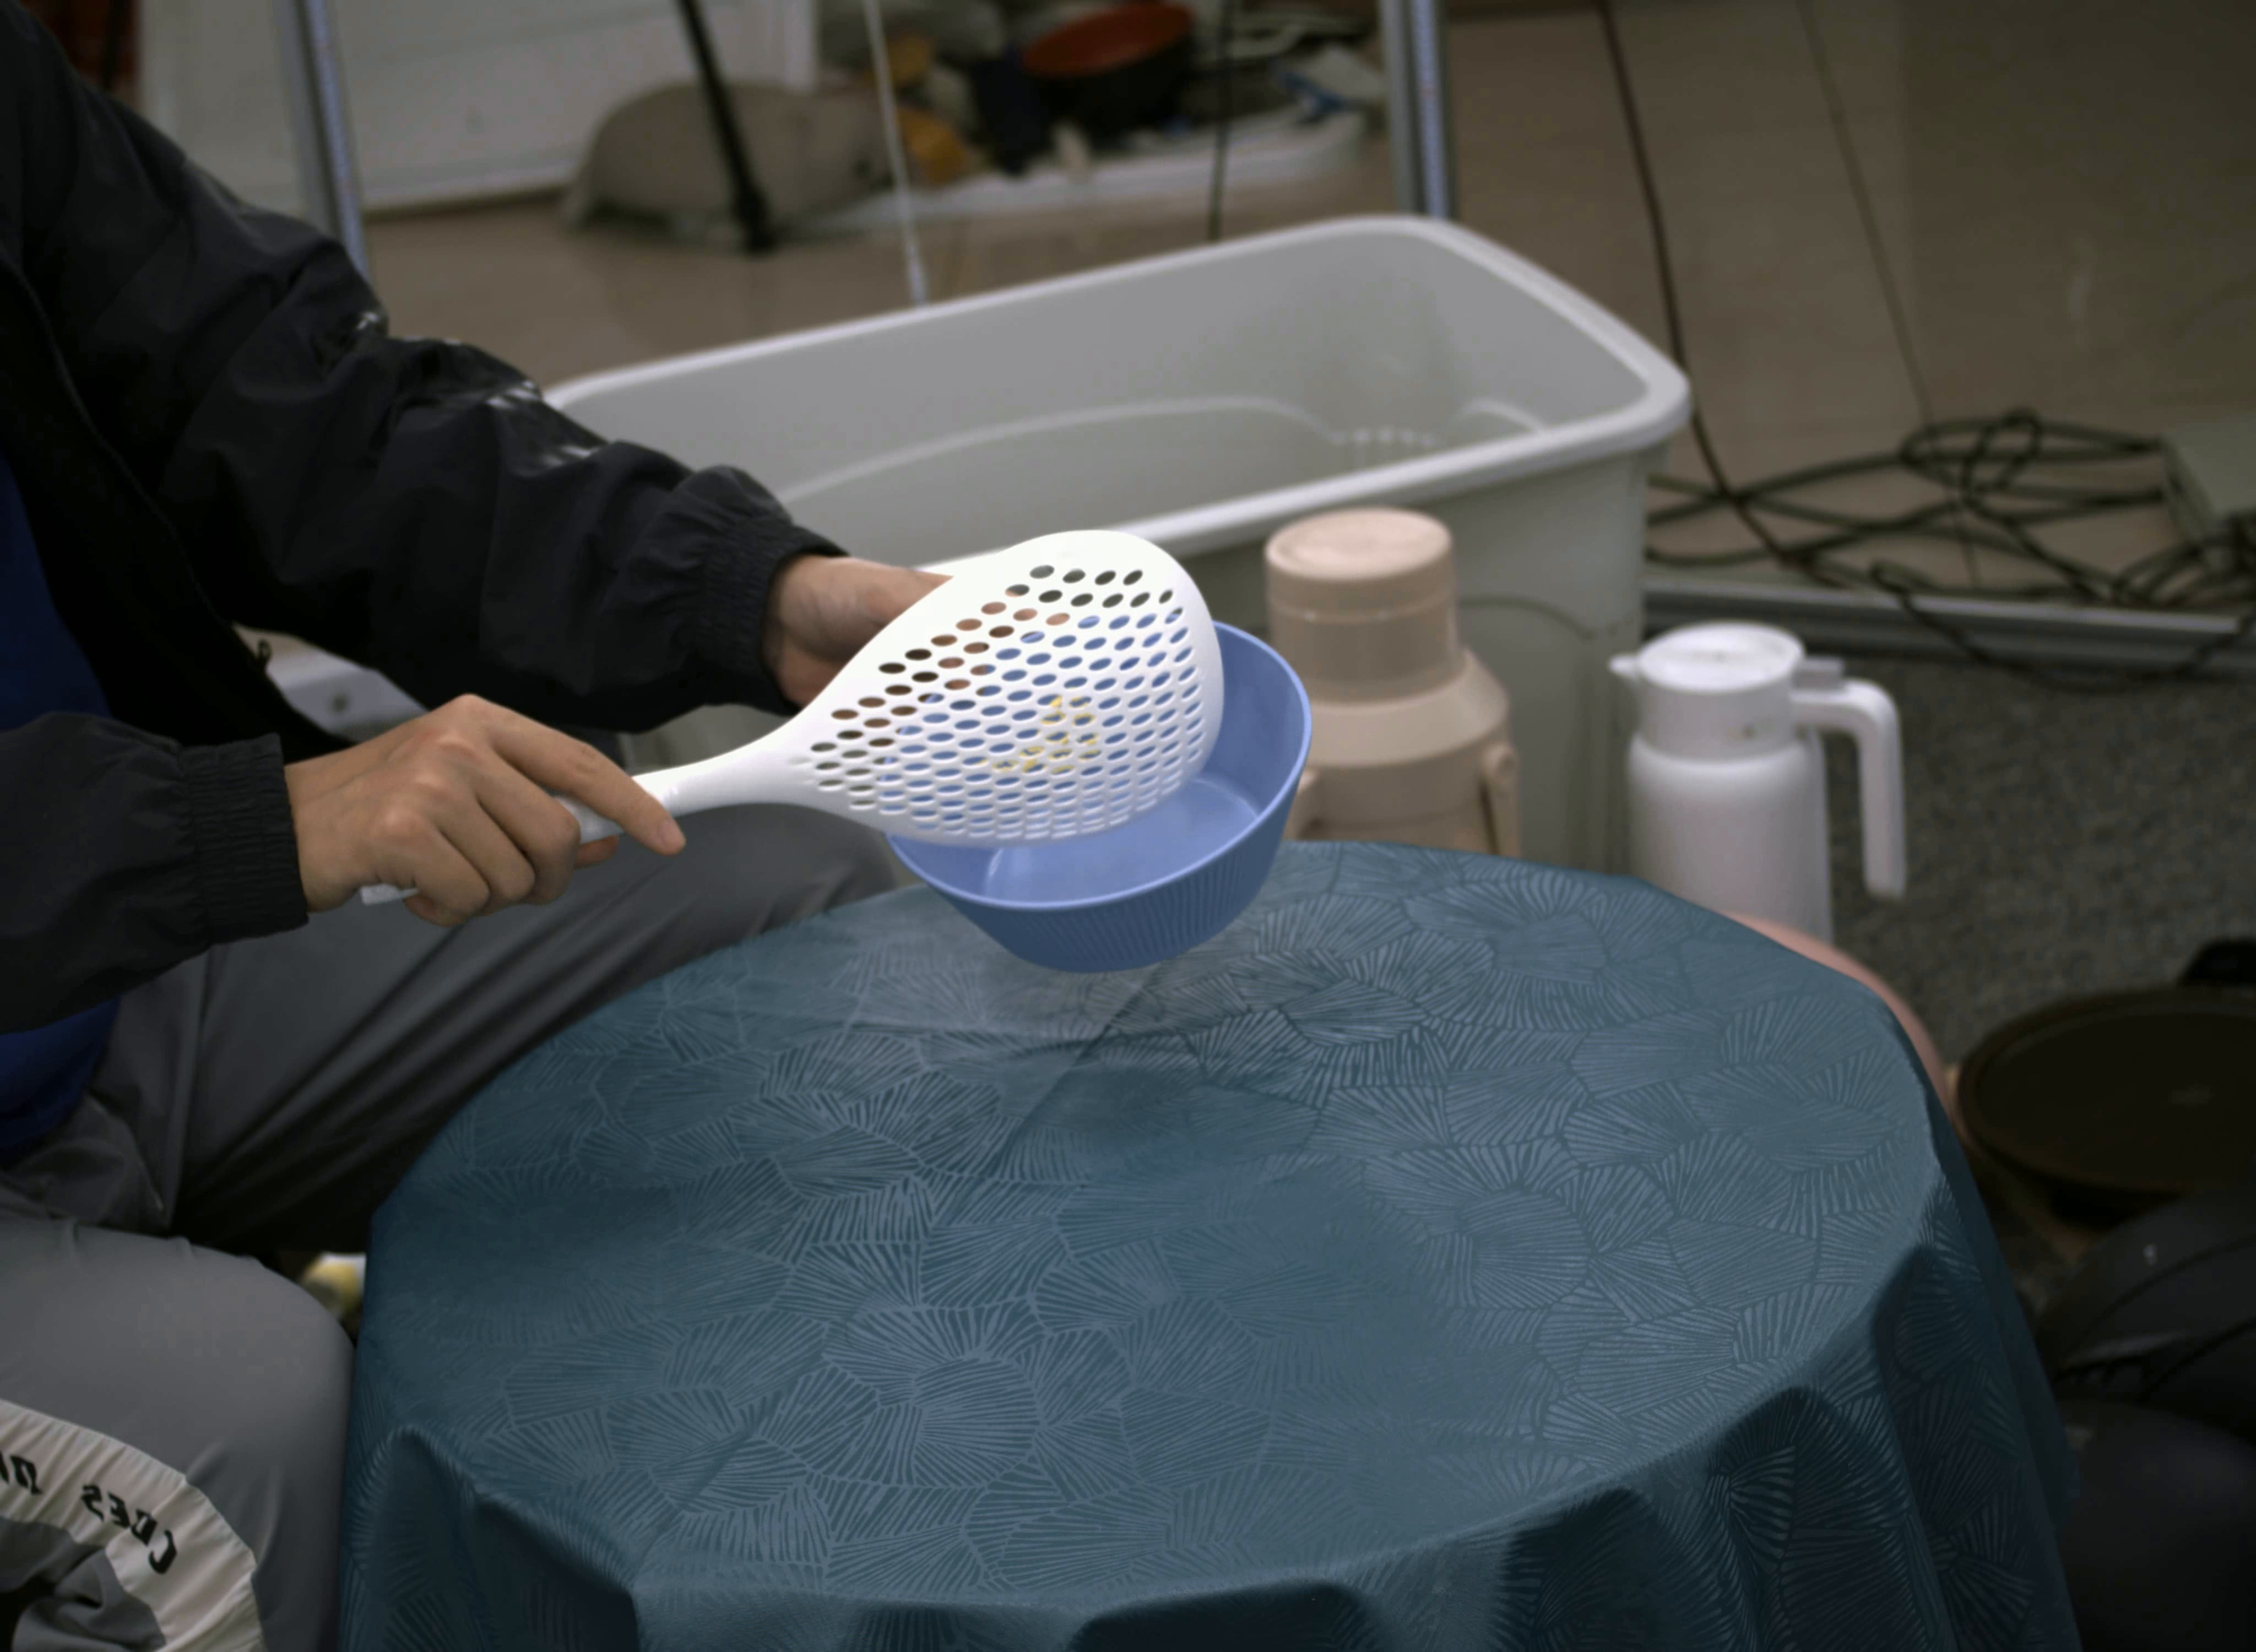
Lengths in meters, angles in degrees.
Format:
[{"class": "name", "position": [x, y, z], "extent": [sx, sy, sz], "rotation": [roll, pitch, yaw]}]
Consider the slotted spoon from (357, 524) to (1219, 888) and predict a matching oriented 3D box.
[{"class": "slotted spoon", "position": [-0.128, -0.022, 2.185], "extent": [0.347, 0.139, 0.049], "rotation": [-12, 32, -8]}]

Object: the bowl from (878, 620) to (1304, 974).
[{"class": "bowl", "position": [-0.008, -0.003, 2.247], "extent": [0.176, 0.071, 0.173], "rotation": [-11, 40, 10]}]
